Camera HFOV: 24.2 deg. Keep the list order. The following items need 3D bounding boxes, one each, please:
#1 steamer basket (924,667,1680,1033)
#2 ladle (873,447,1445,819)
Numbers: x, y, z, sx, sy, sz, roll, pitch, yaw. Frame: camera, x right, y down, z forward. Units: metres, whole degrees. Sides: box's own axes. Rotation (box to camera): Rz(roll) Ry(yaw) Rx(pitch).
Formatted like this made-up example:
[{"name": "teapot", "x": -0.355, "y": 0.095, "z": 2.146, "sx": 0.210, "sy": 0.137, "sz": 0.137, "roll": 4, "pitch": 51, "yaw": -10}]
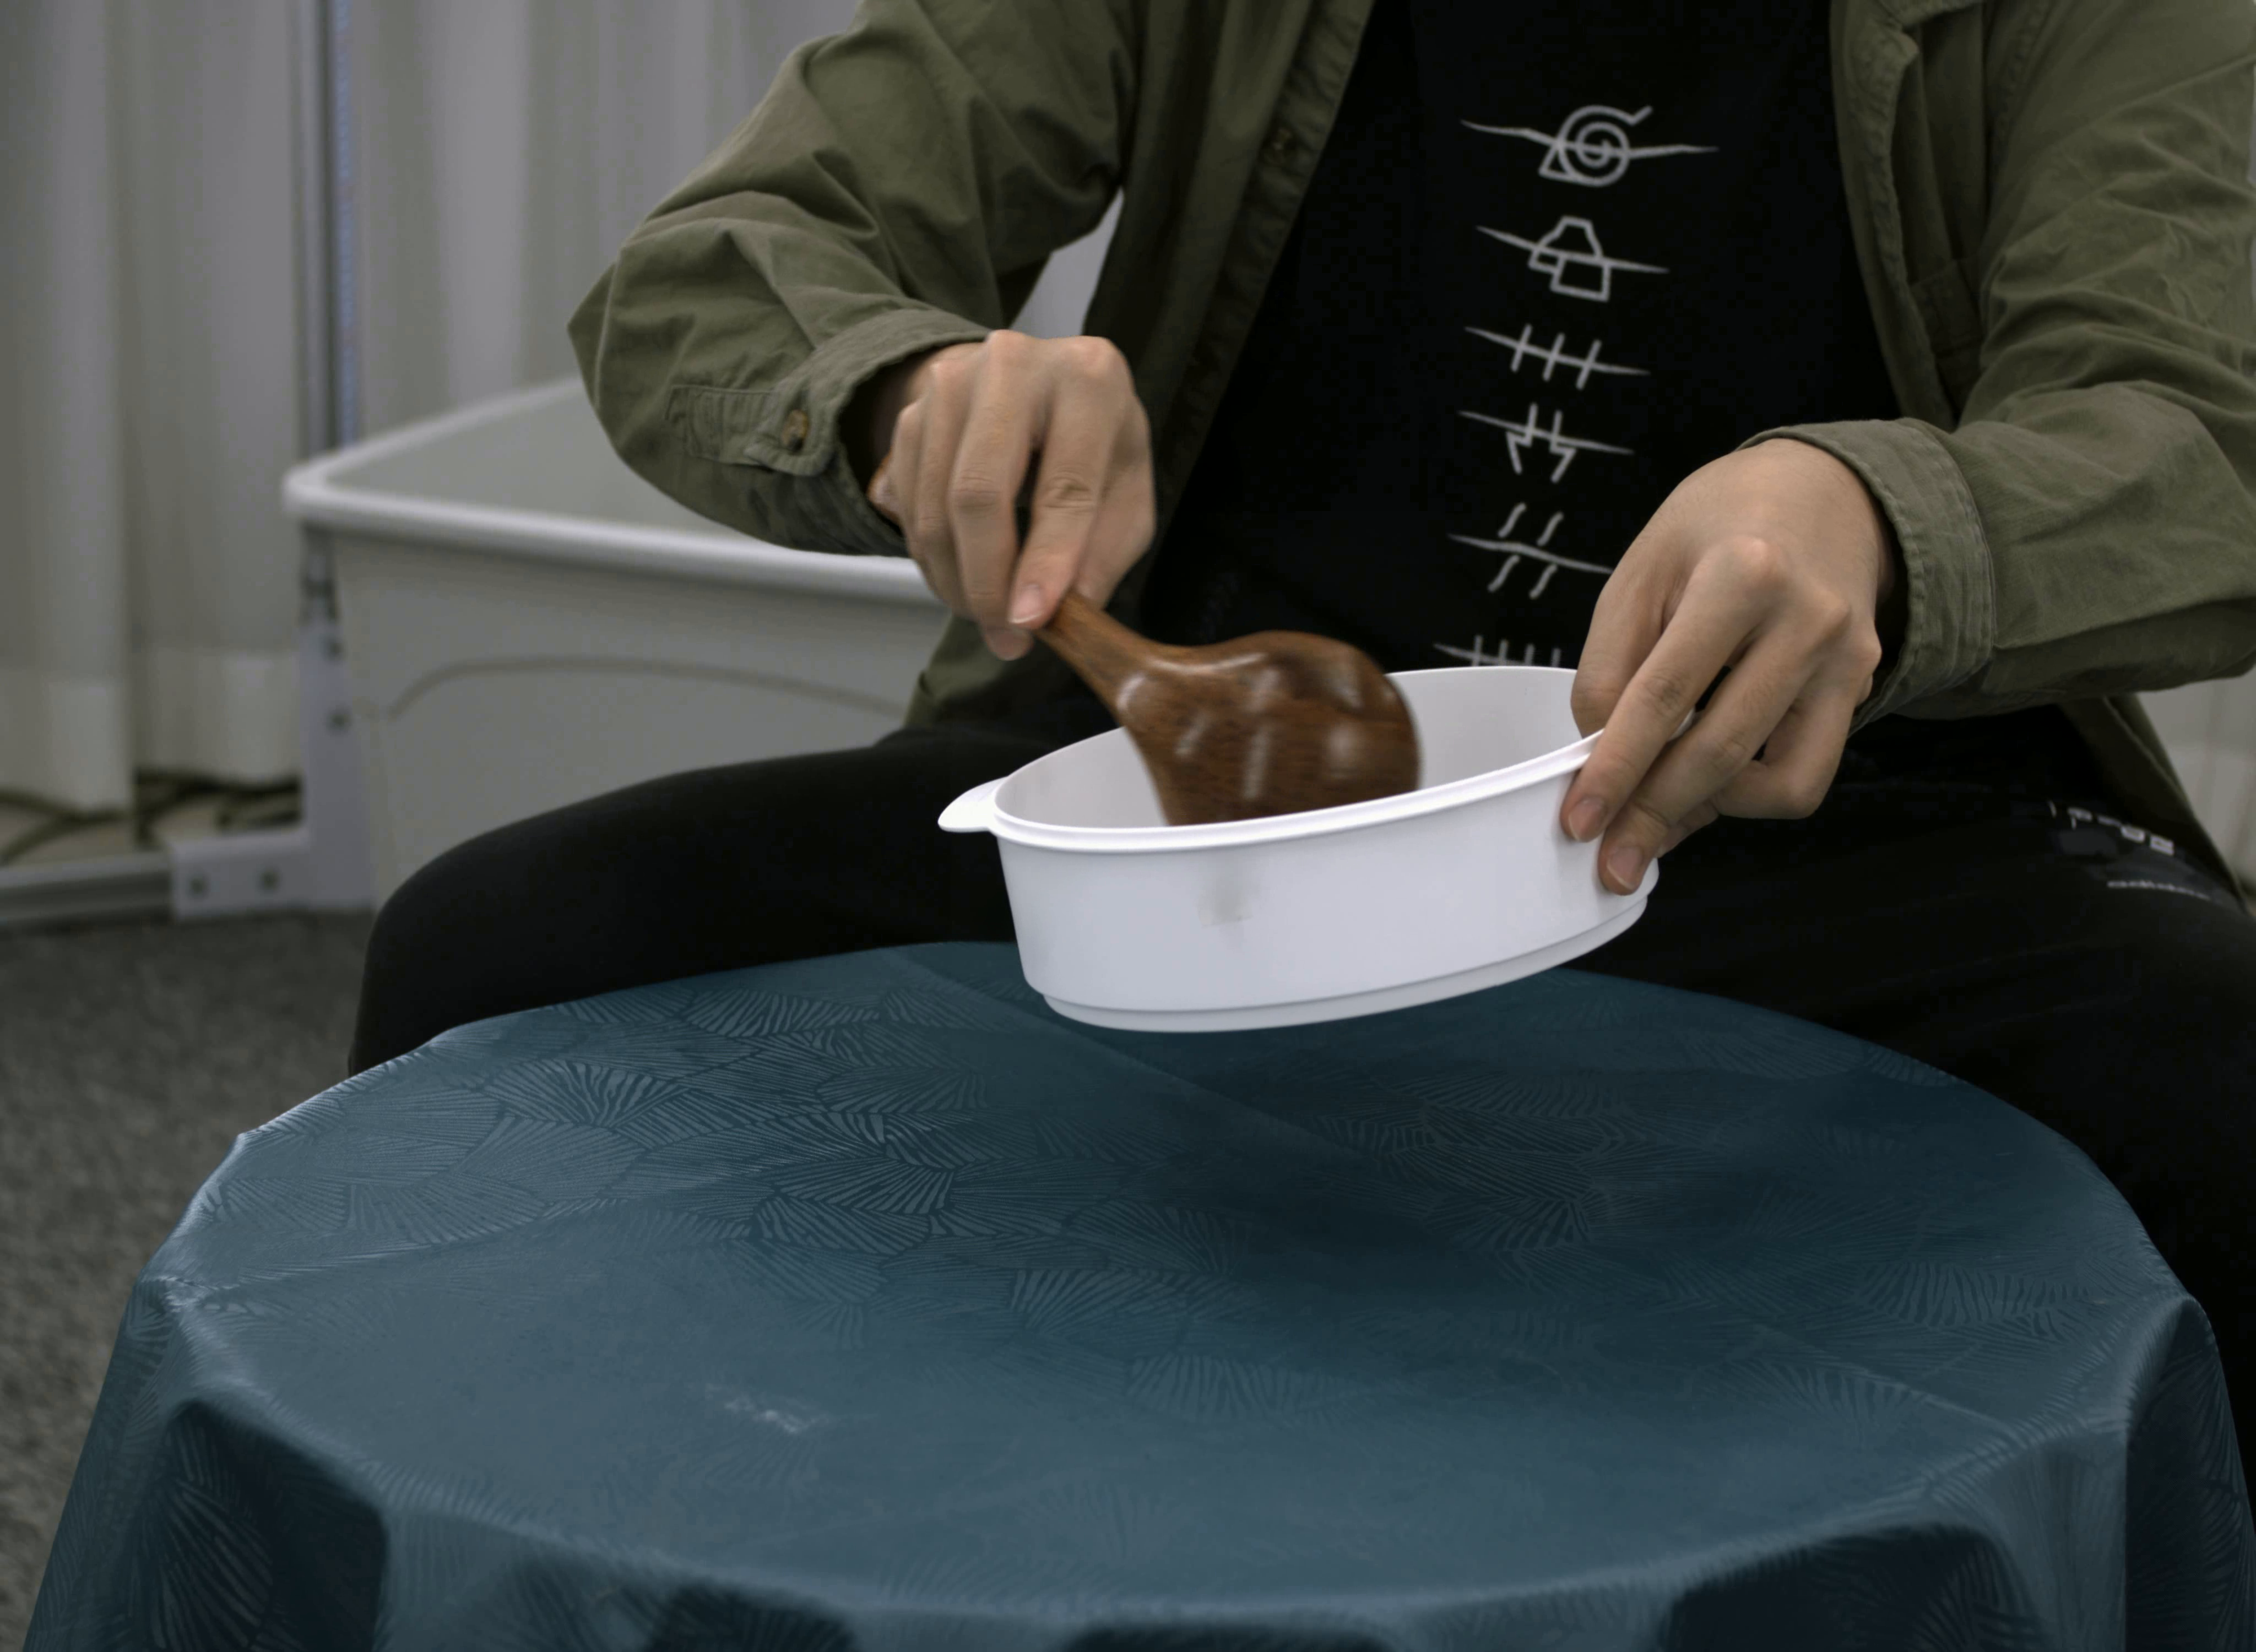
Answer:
[{"name": "steamer basket", "x": 0.056, "y": 0.008, "z": 1.587, "sx": 0.229, "sy": 0.070, "sz": 0.201, "roll": -6, "pitch": 12, "yaw": 13}, {"name": "ladle", "x": 0.008, "y": -0.058, "z": 1.629, "sx": 0.077, "sy": 0.082, "sz": 0.270, "roll": 27, "pitch": 7, "yaw": -33}]
